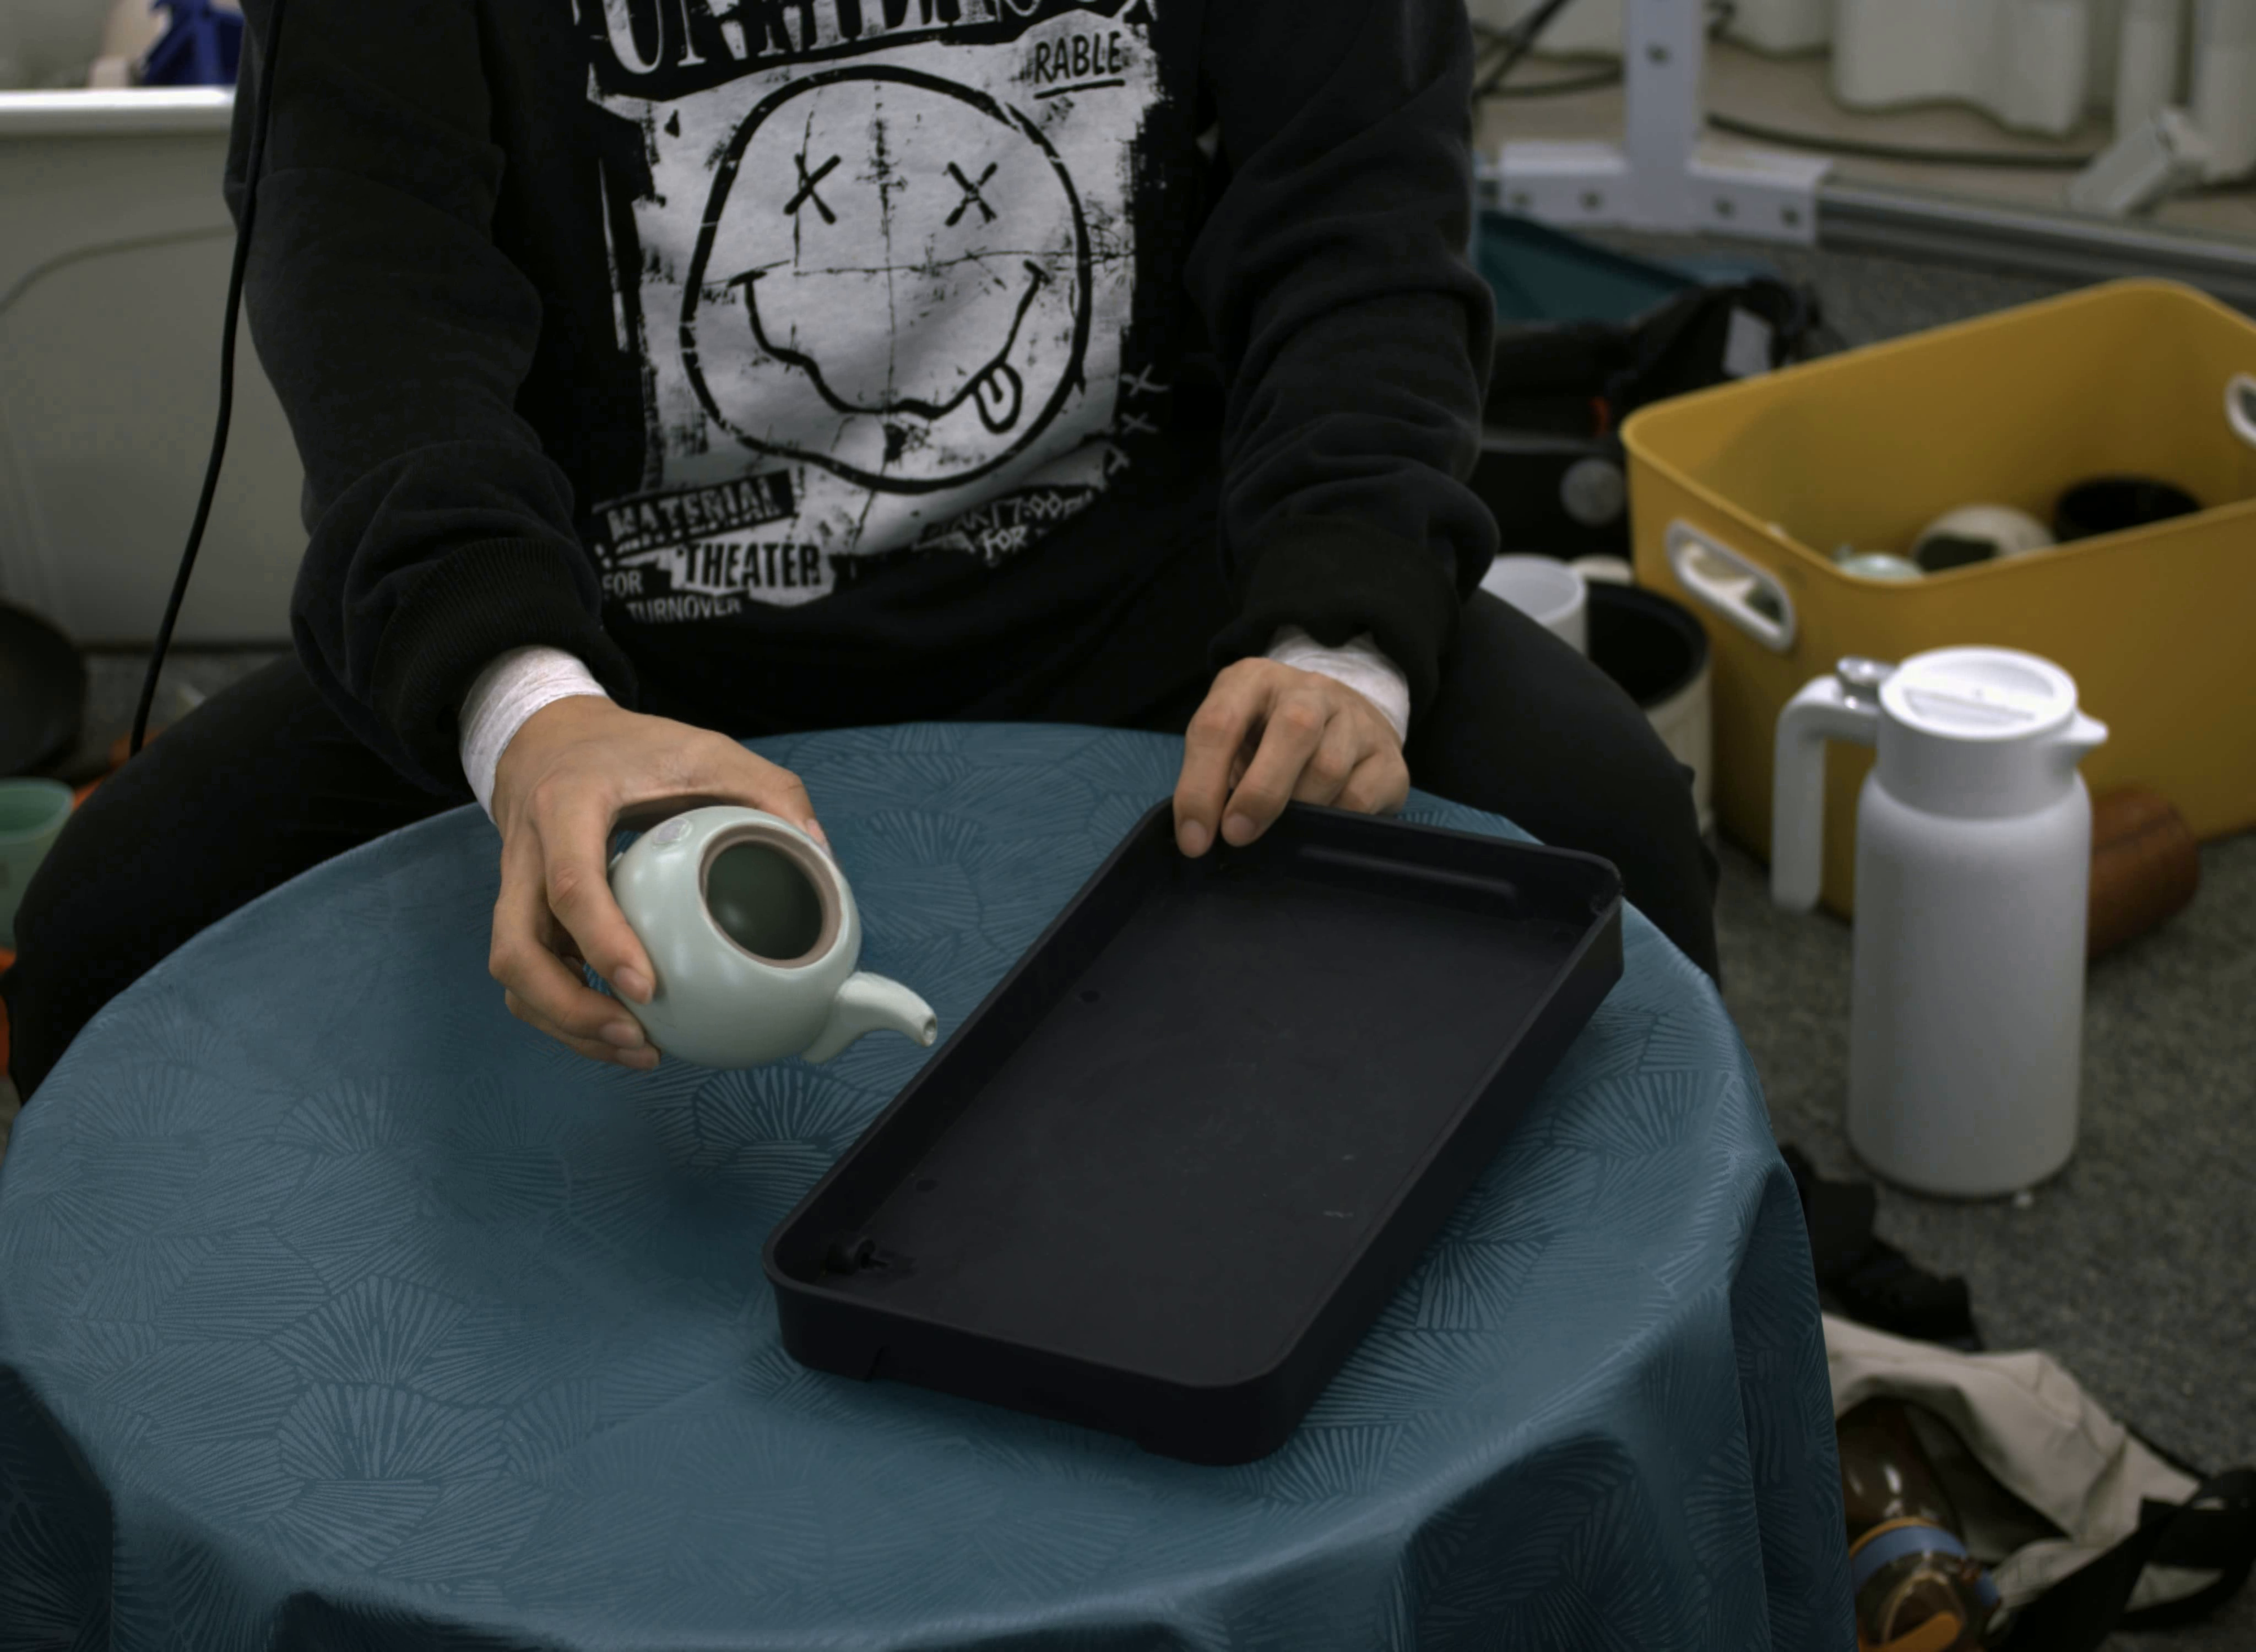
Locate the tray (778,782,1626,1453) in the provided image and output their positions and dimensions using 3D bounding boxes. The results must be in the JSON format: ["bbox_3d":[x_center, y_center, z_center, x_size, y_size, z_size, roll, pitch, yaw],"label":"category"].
[{"bbox_3d":[0.032,0.089,1.857,0.183,0.036,0.324,9,34,23],"label":"tray"}]

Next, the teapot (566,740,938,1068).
[{"bbox_3d":[-0.131,0.035,1.840,0.143,0.073,0.090,44,45,-6],"label":"teapot"}]
